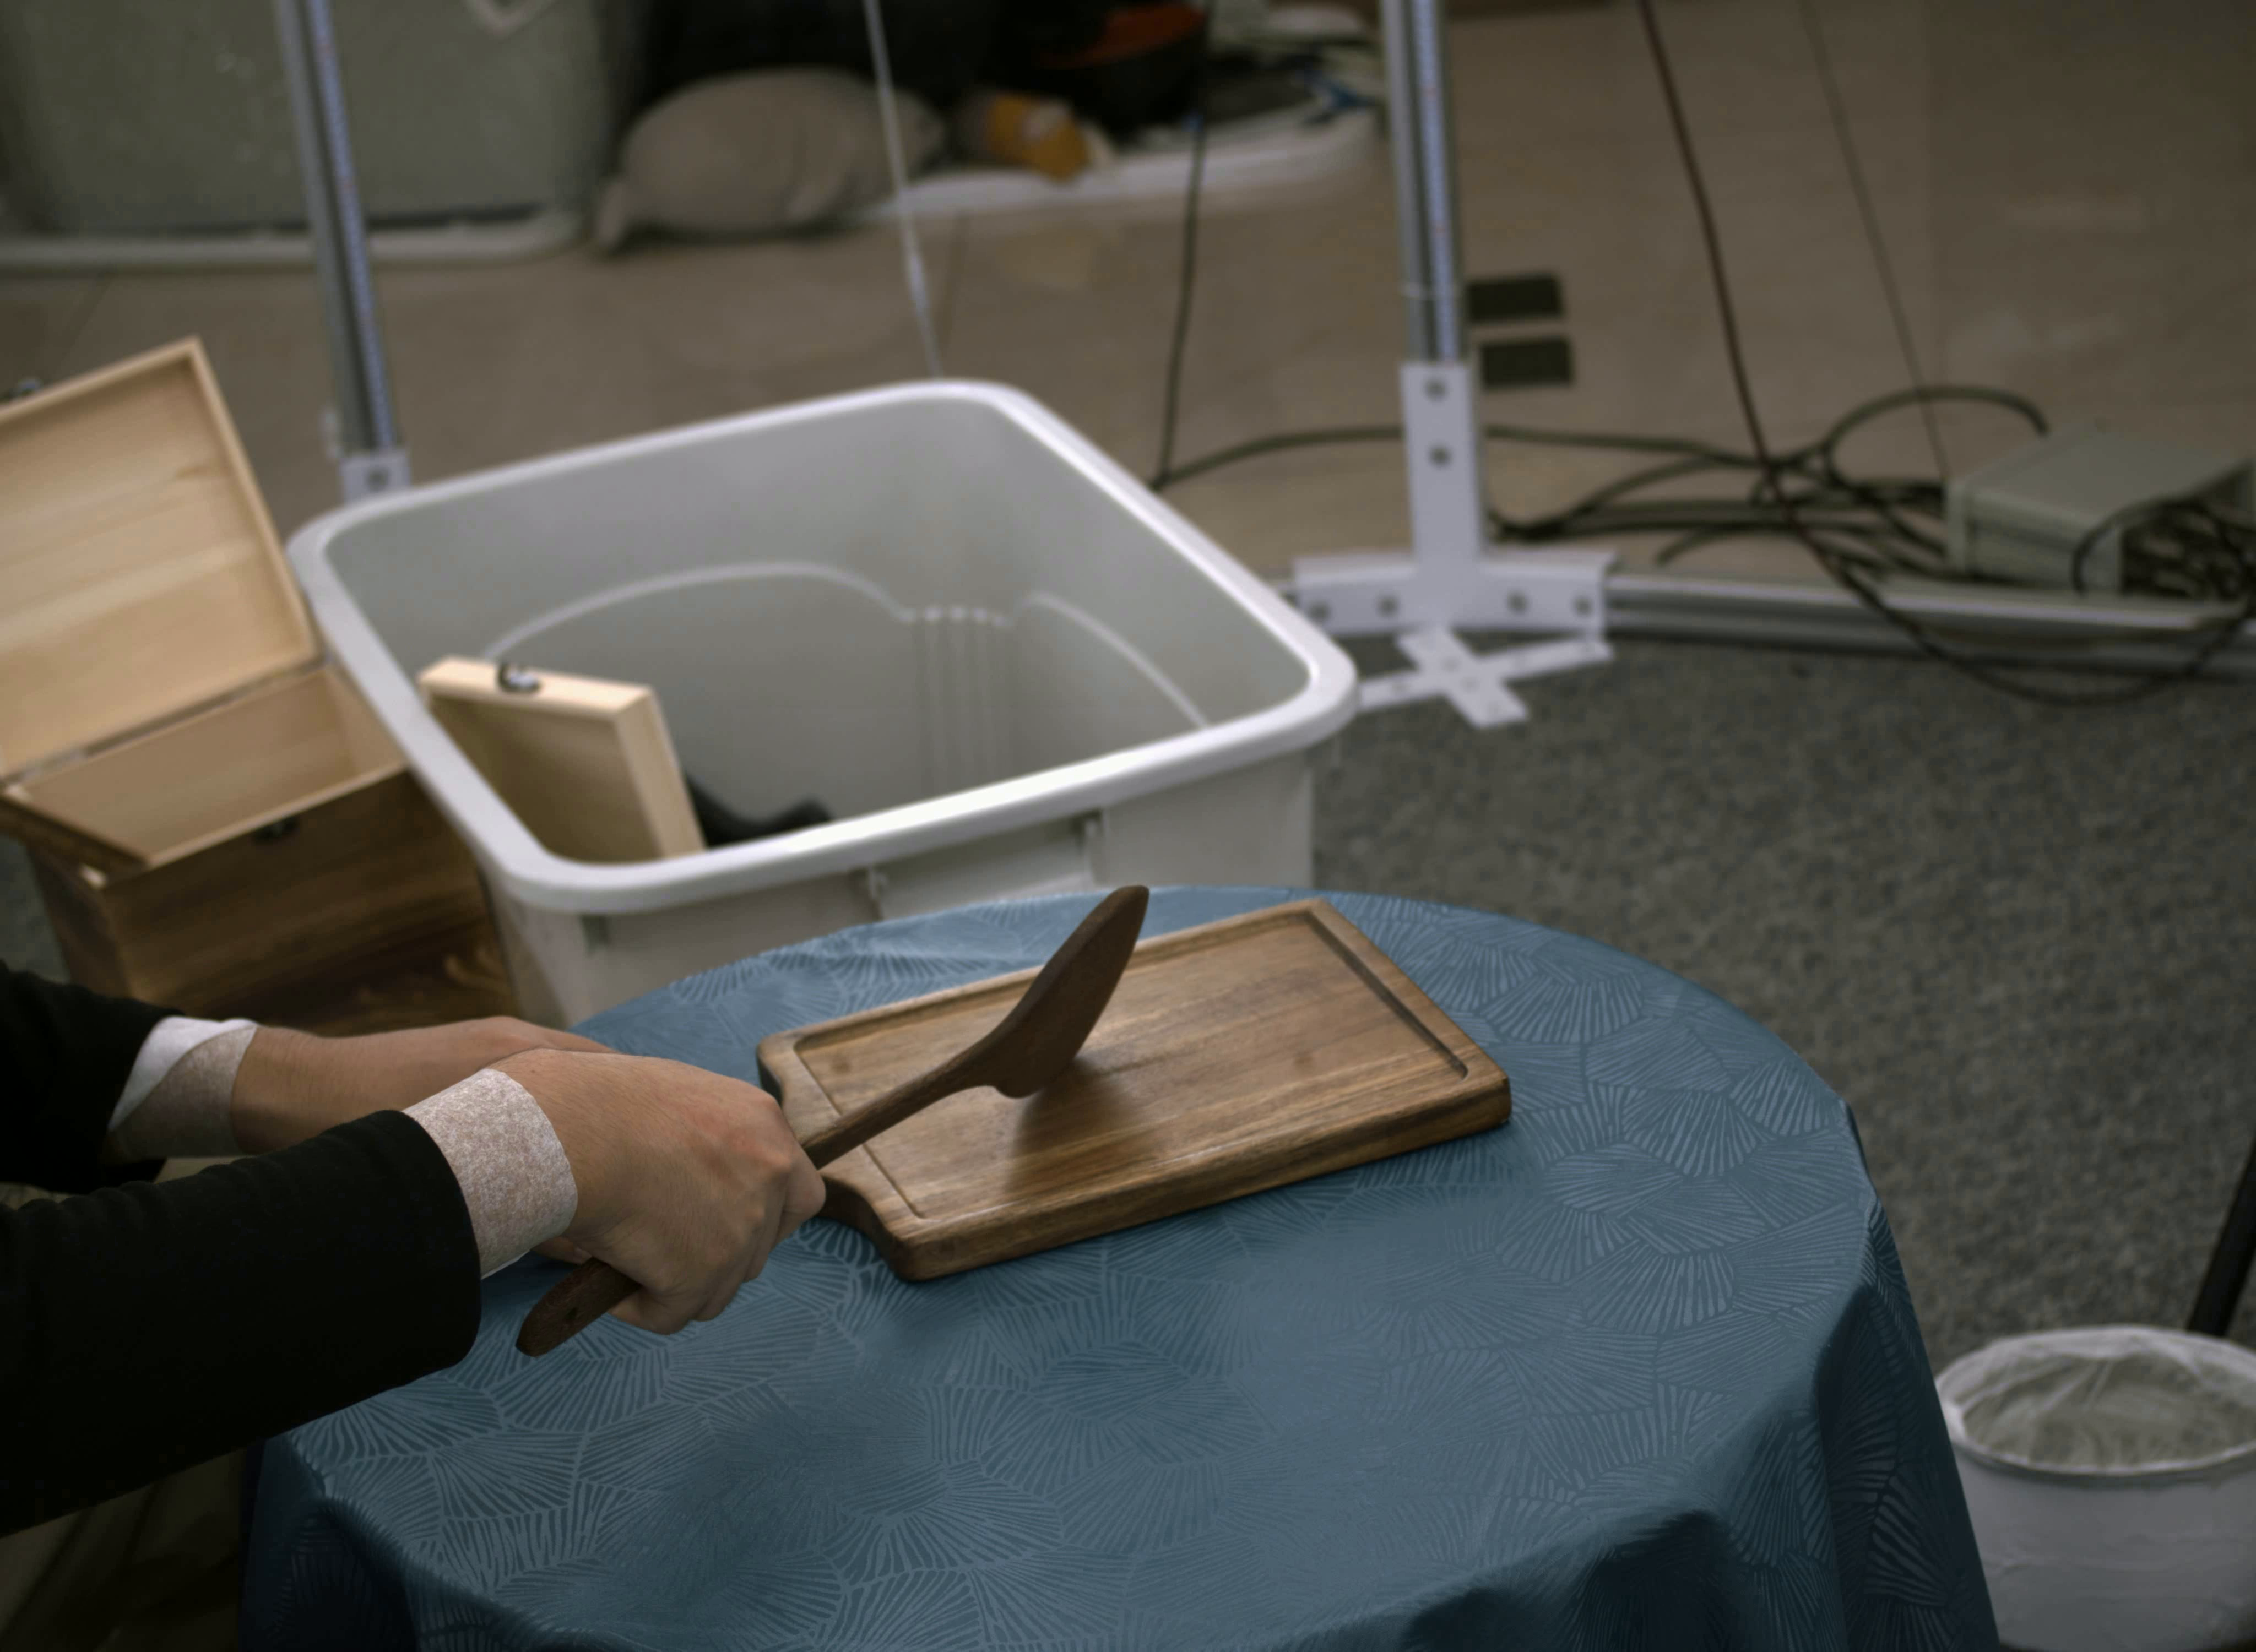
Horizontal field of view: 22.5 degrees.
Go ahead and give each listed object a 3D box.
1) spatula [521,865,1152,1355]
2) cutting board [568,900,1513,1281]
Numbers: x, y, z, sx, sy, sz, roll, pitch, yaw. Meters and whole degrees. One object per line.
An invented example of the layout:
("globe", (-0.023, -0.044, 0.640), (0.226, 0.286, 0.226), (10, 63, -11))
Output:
("spatula", (-0.101, 0.109, 2.062), (0.015, 0.098, 0.382), (35, 35, 20))
("cutting board", (-0.048, 0.110, 2.197), (0.351, 0.023, 0.198), (-14, 26, -16))
